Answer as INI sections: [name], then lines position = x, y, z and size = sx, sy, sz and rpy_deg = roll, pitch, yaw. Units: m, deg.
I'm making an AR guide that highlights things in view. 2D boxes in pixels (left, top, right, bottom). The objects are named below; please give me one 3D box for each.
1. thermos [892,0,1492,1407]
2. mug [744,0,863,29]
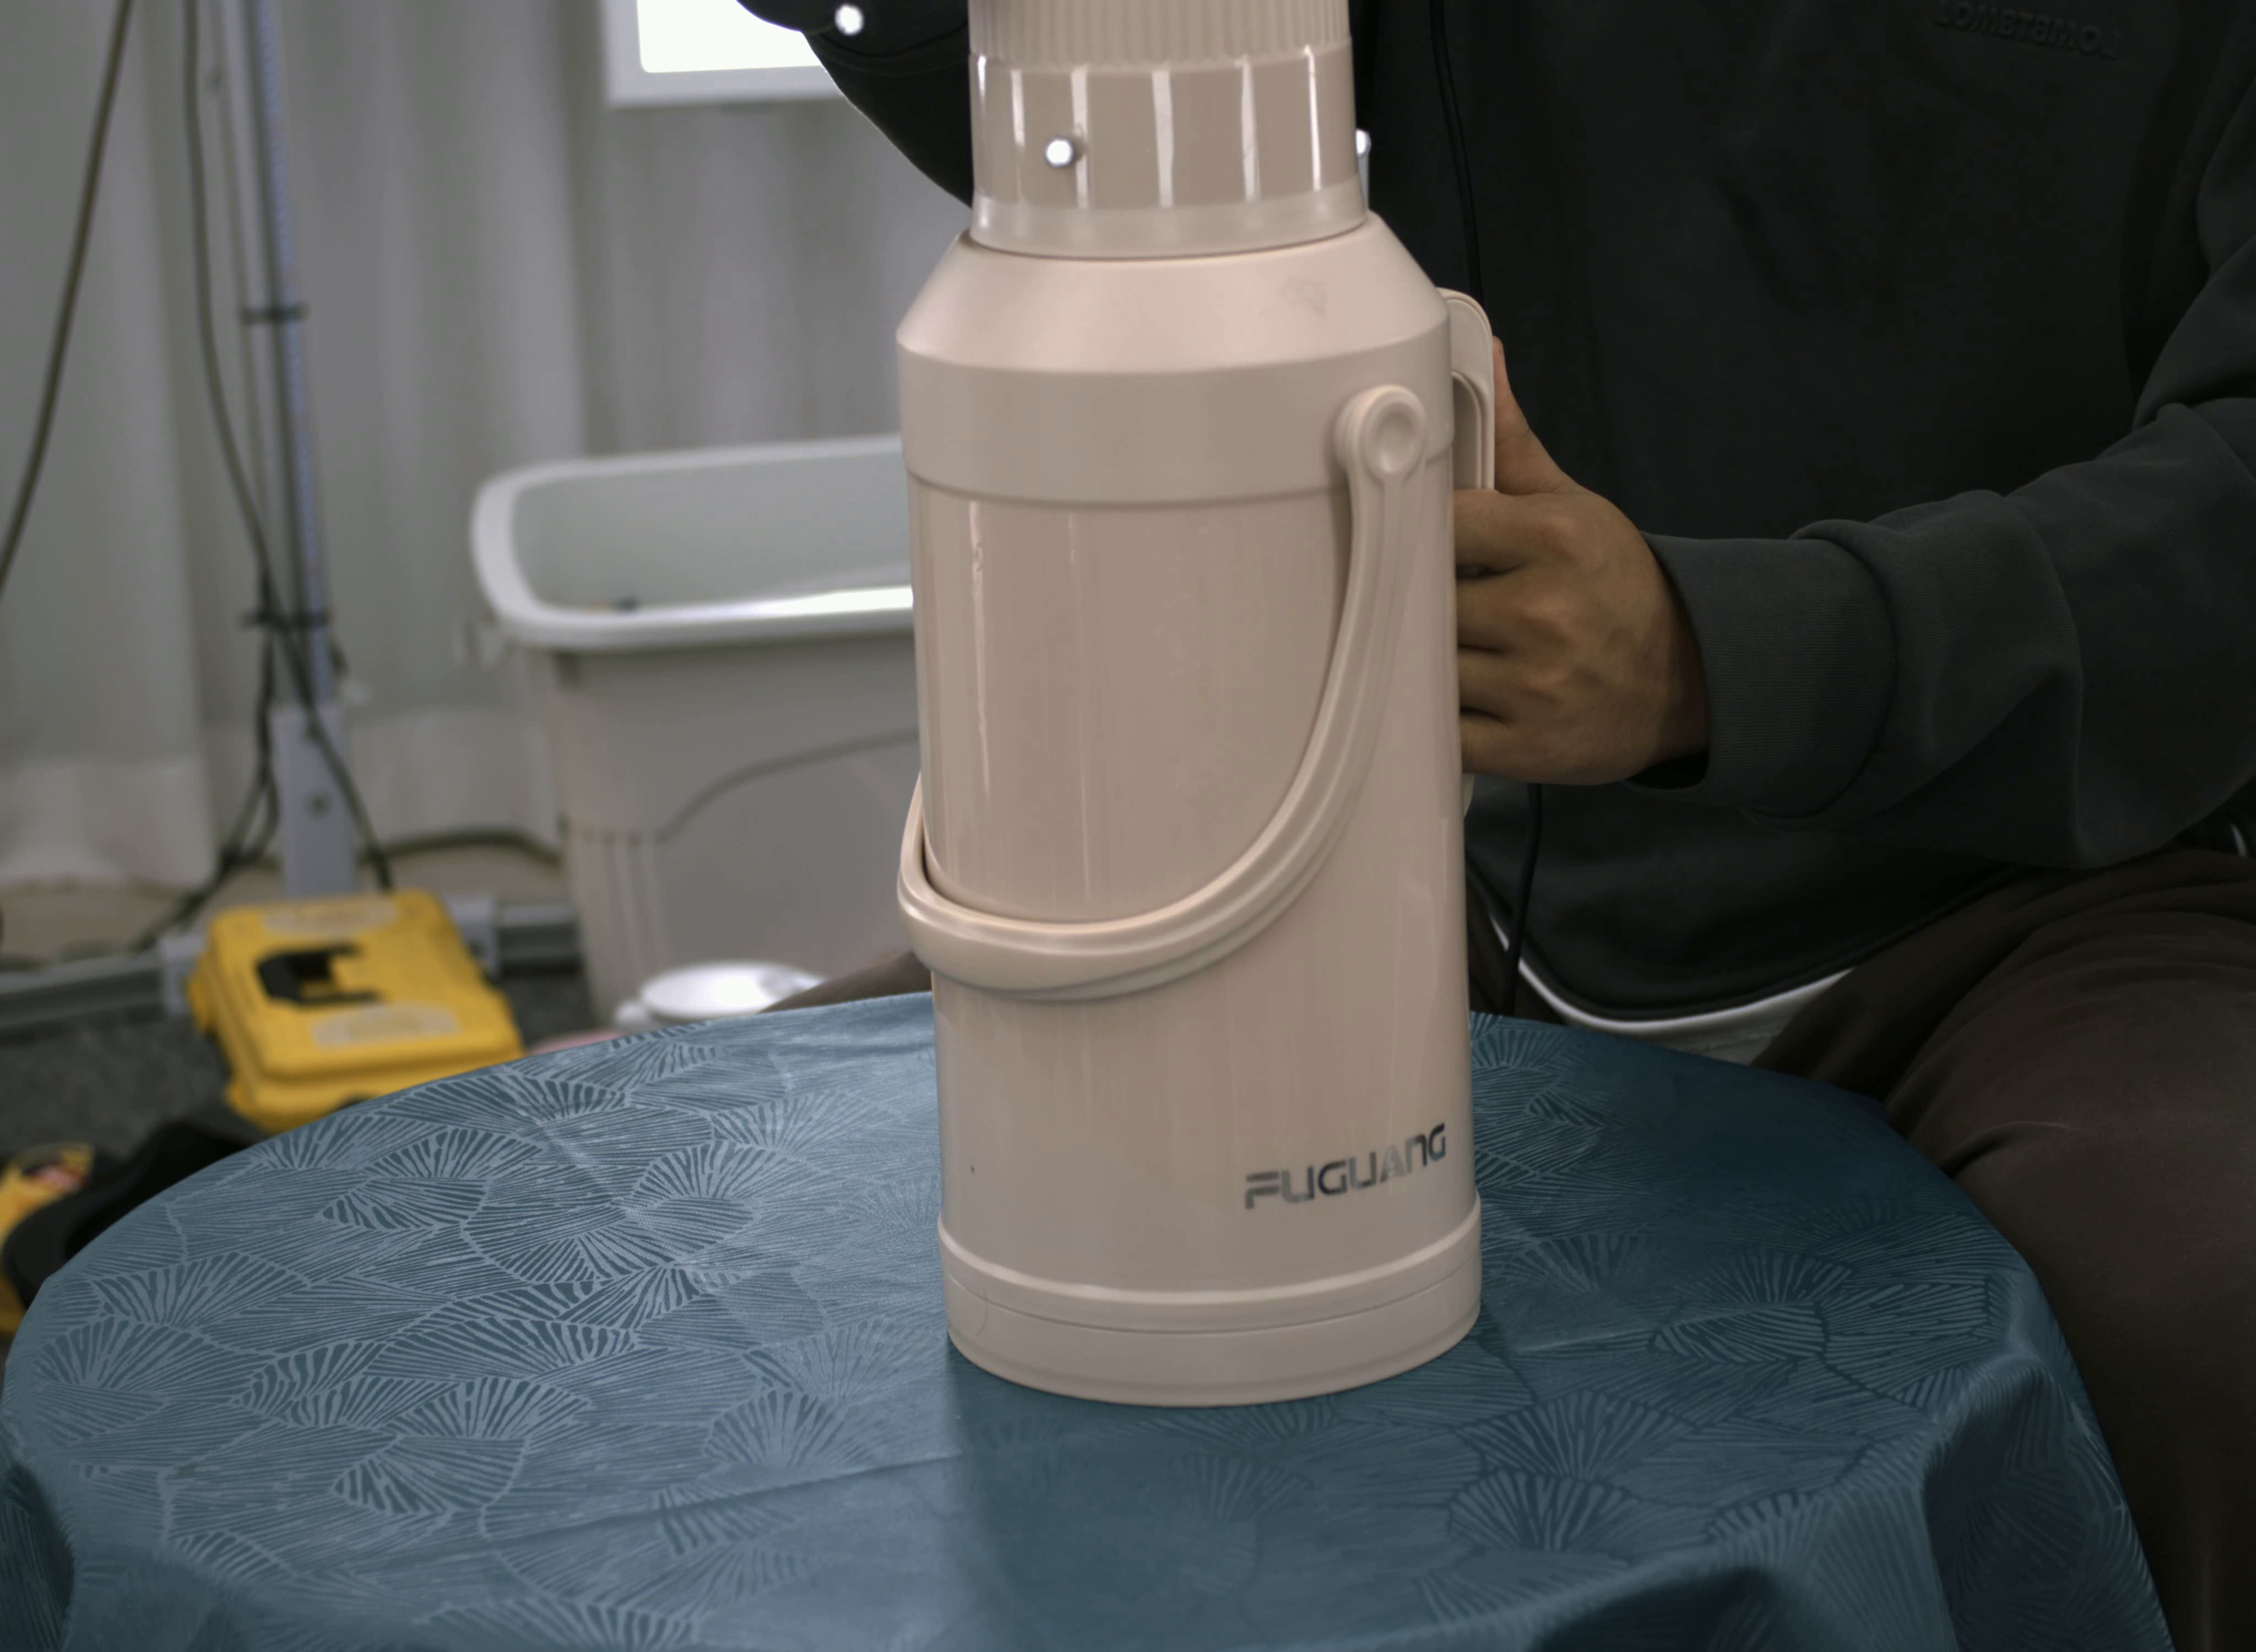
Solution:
[thermos]
position = 0.027, -0.052, 1.571
size = 0.206, 0.405, 0.176
rpy_deg = -15, 18, -40
[mug]
position = -0.082, -0.281, 1.519
size = 0.089, 0.093, 0.124
rpy_deg = -34, 10, 13
